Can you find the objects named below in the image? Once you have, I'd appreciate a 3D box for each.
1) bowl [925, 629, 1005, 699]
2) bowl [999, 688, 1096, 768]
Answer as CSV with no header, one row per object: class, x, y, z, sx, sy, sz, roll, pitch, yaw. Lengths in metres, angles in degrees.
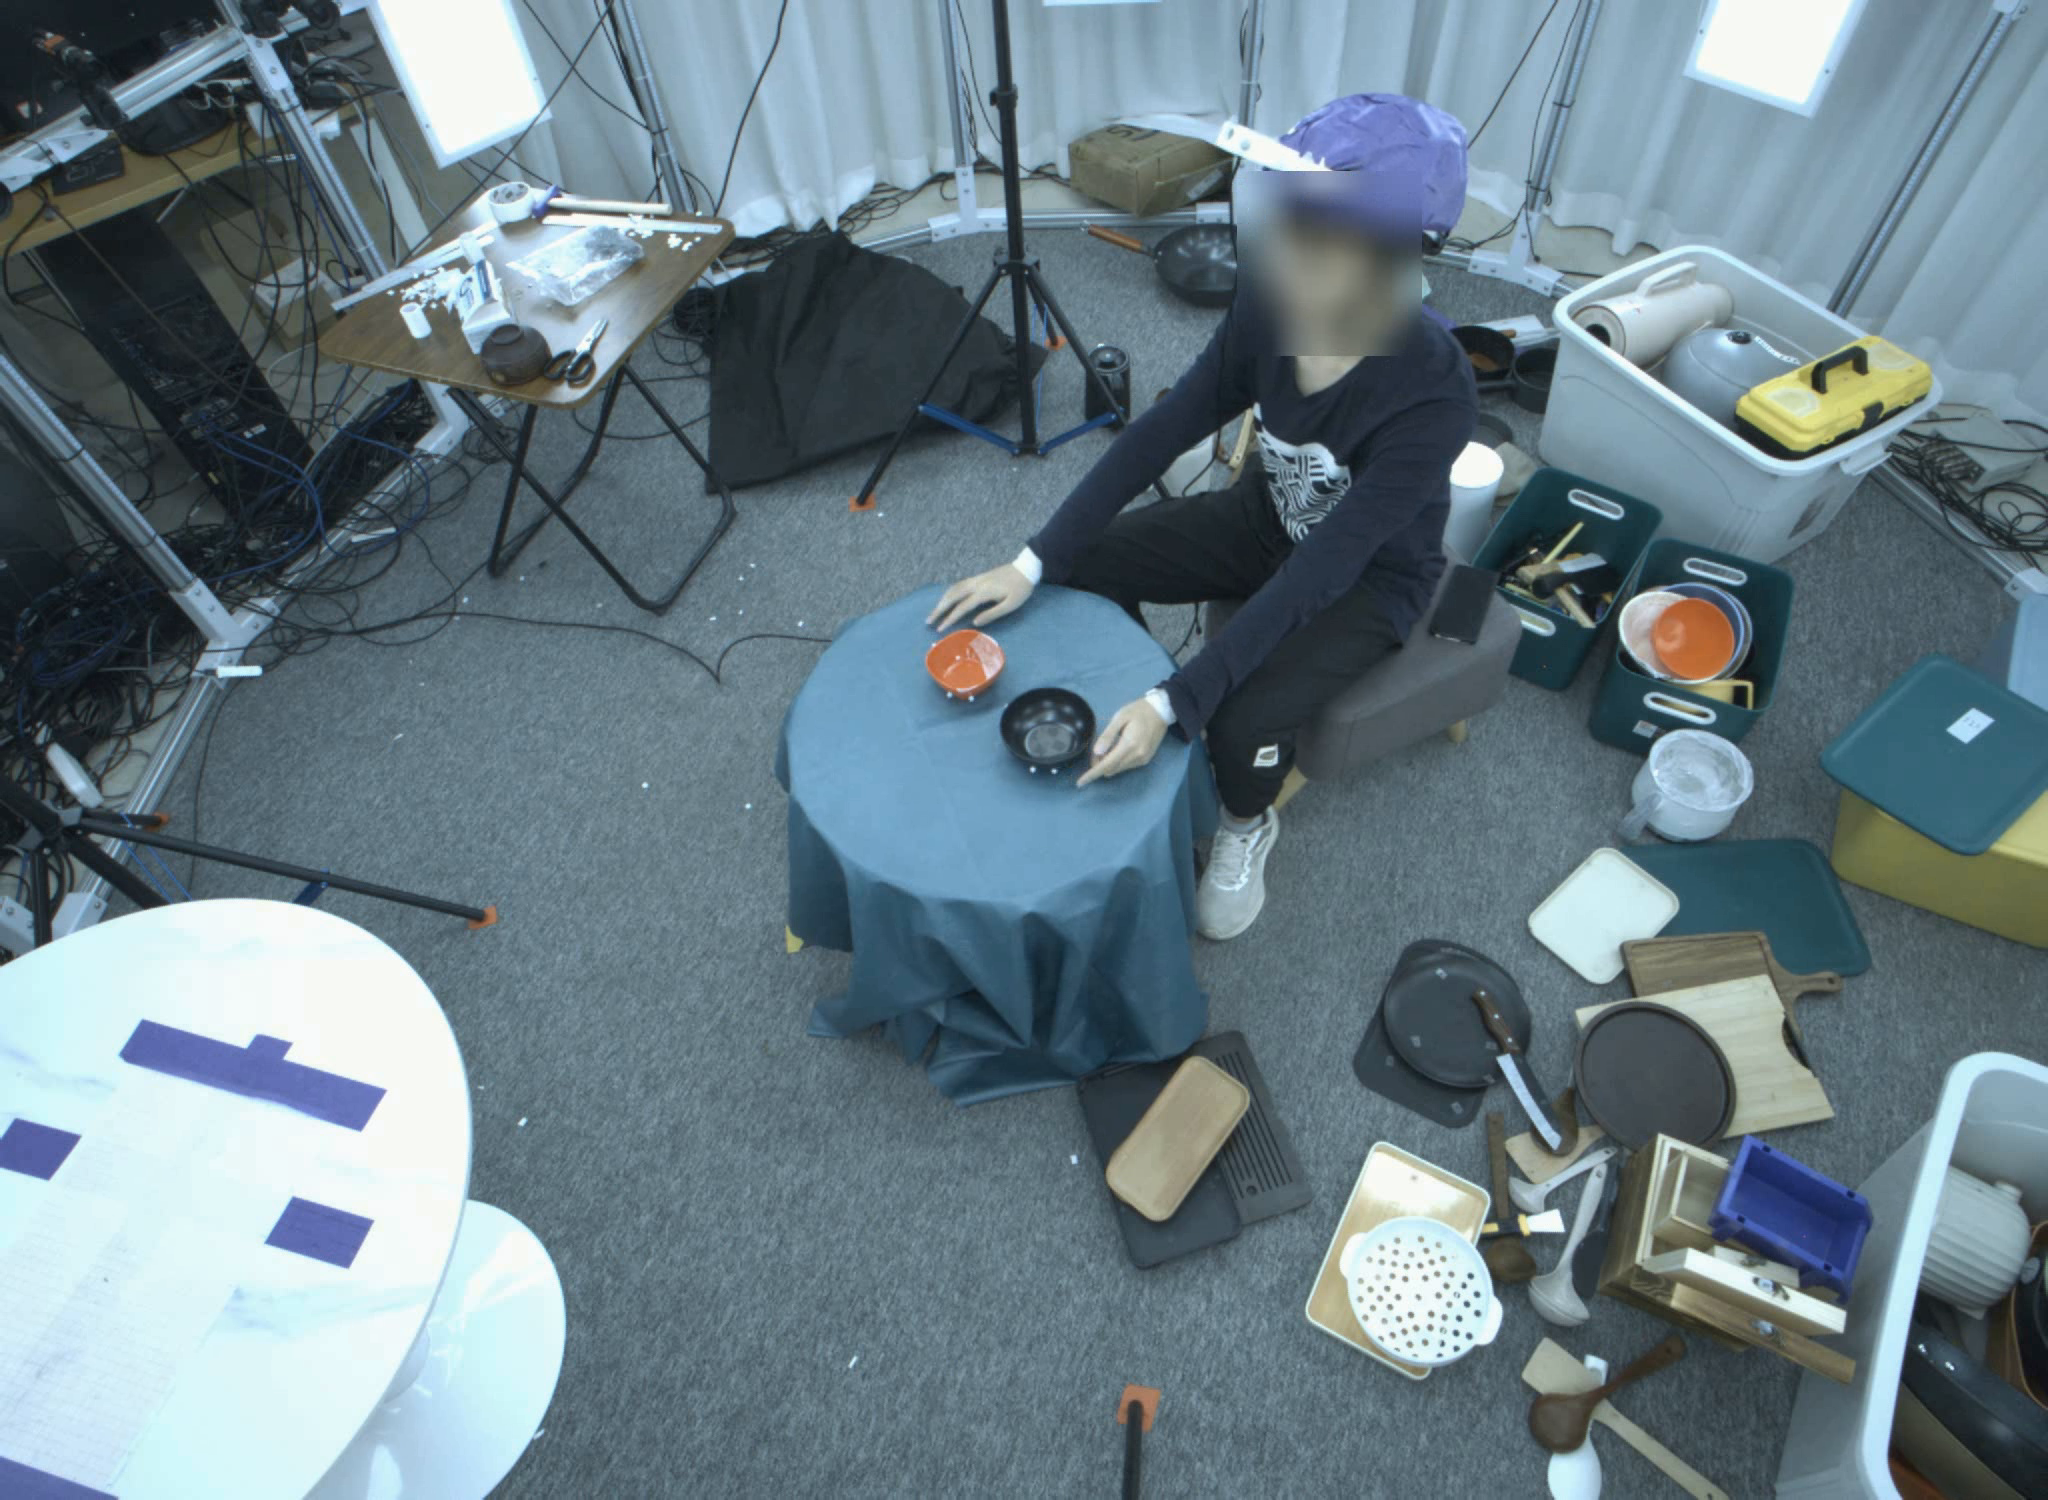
bowl,-0.087,-0.122,1.852,0.119,0.052,0.118,-1,55,3
bowl,0.034,-0.023,1.784,0.140,0.050,0.138,2,52,-1
